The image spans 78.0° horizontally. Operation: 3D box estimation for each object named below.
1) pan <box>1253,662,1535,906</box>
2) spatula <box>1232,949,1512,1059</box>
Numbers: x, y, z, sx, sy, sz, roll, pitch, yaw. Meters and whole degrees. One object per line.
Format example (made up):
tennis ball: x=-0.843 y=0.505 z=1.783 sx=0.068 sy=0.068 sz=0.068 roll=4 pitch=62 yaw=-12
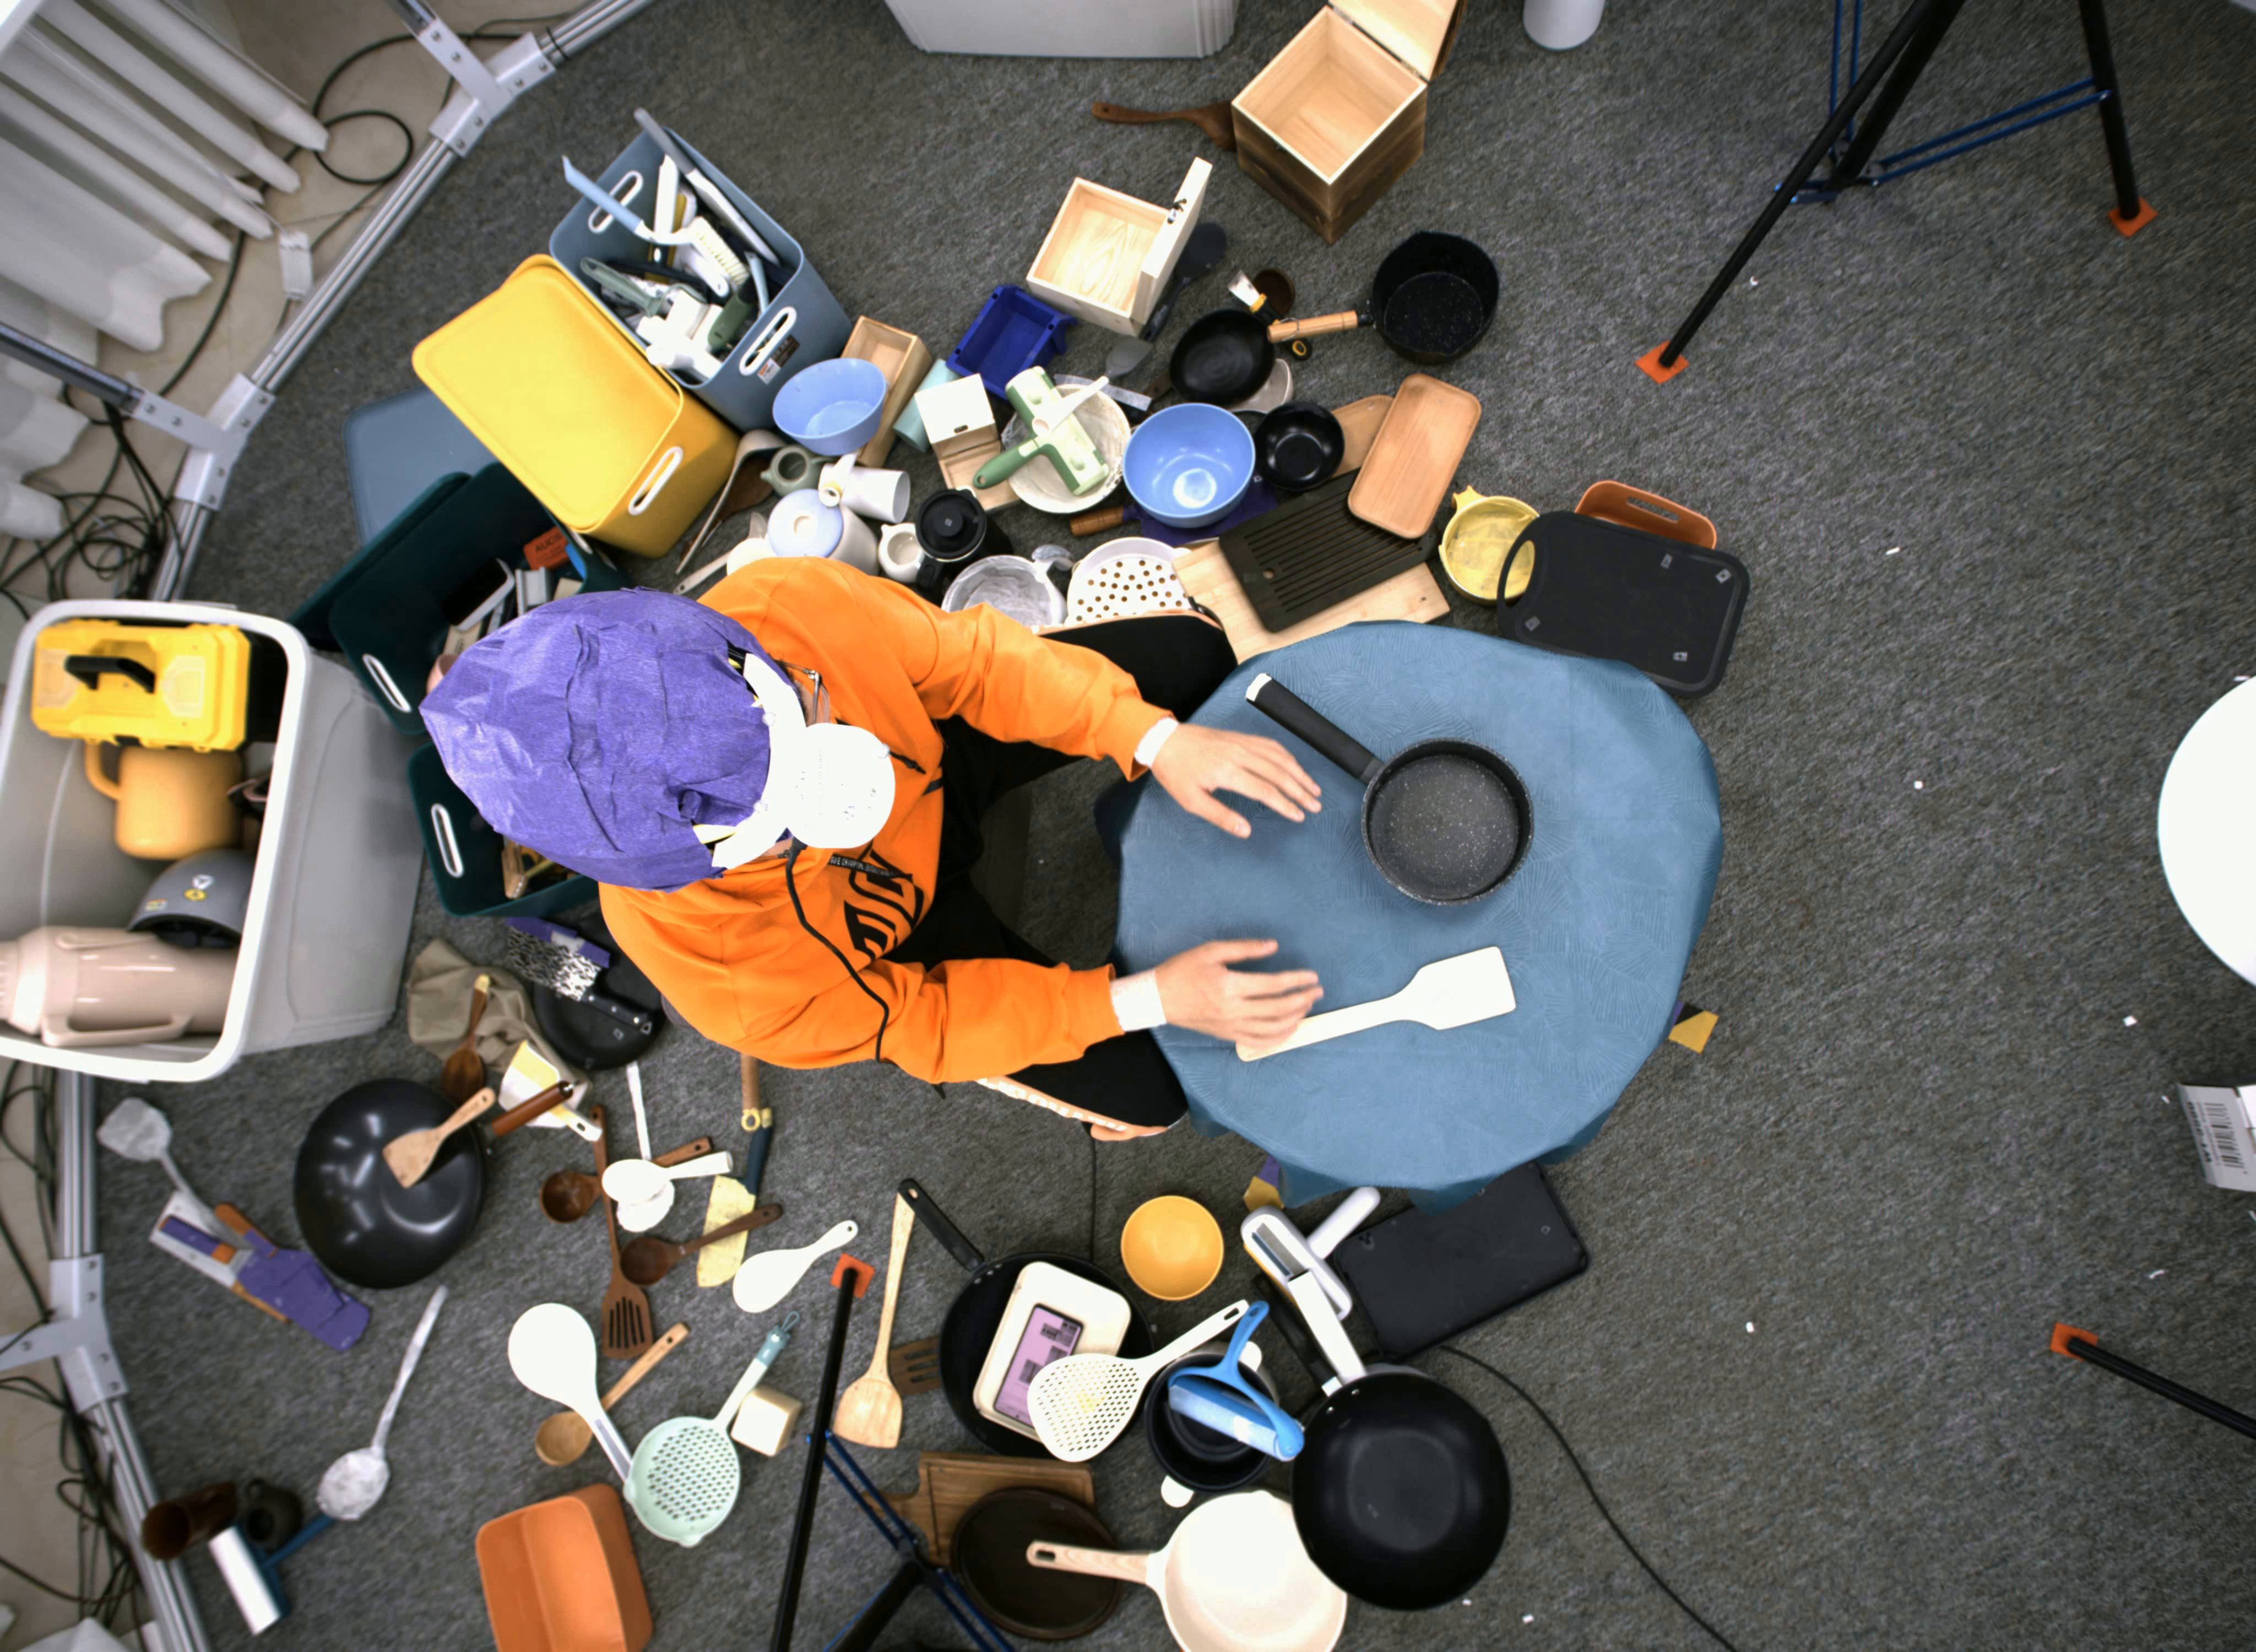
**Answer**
pan: x=0.265 y=-0.052 z=1.425 sx=0.328 sy=0.086 sz=0.172 roll=39 pitch=93 yaw=9
spatula: x=0.252 y=0.197 z=1.452 sx=0.294 sy=0.010 sz=0.072 roll=-16 pitch=87 yaw=9
